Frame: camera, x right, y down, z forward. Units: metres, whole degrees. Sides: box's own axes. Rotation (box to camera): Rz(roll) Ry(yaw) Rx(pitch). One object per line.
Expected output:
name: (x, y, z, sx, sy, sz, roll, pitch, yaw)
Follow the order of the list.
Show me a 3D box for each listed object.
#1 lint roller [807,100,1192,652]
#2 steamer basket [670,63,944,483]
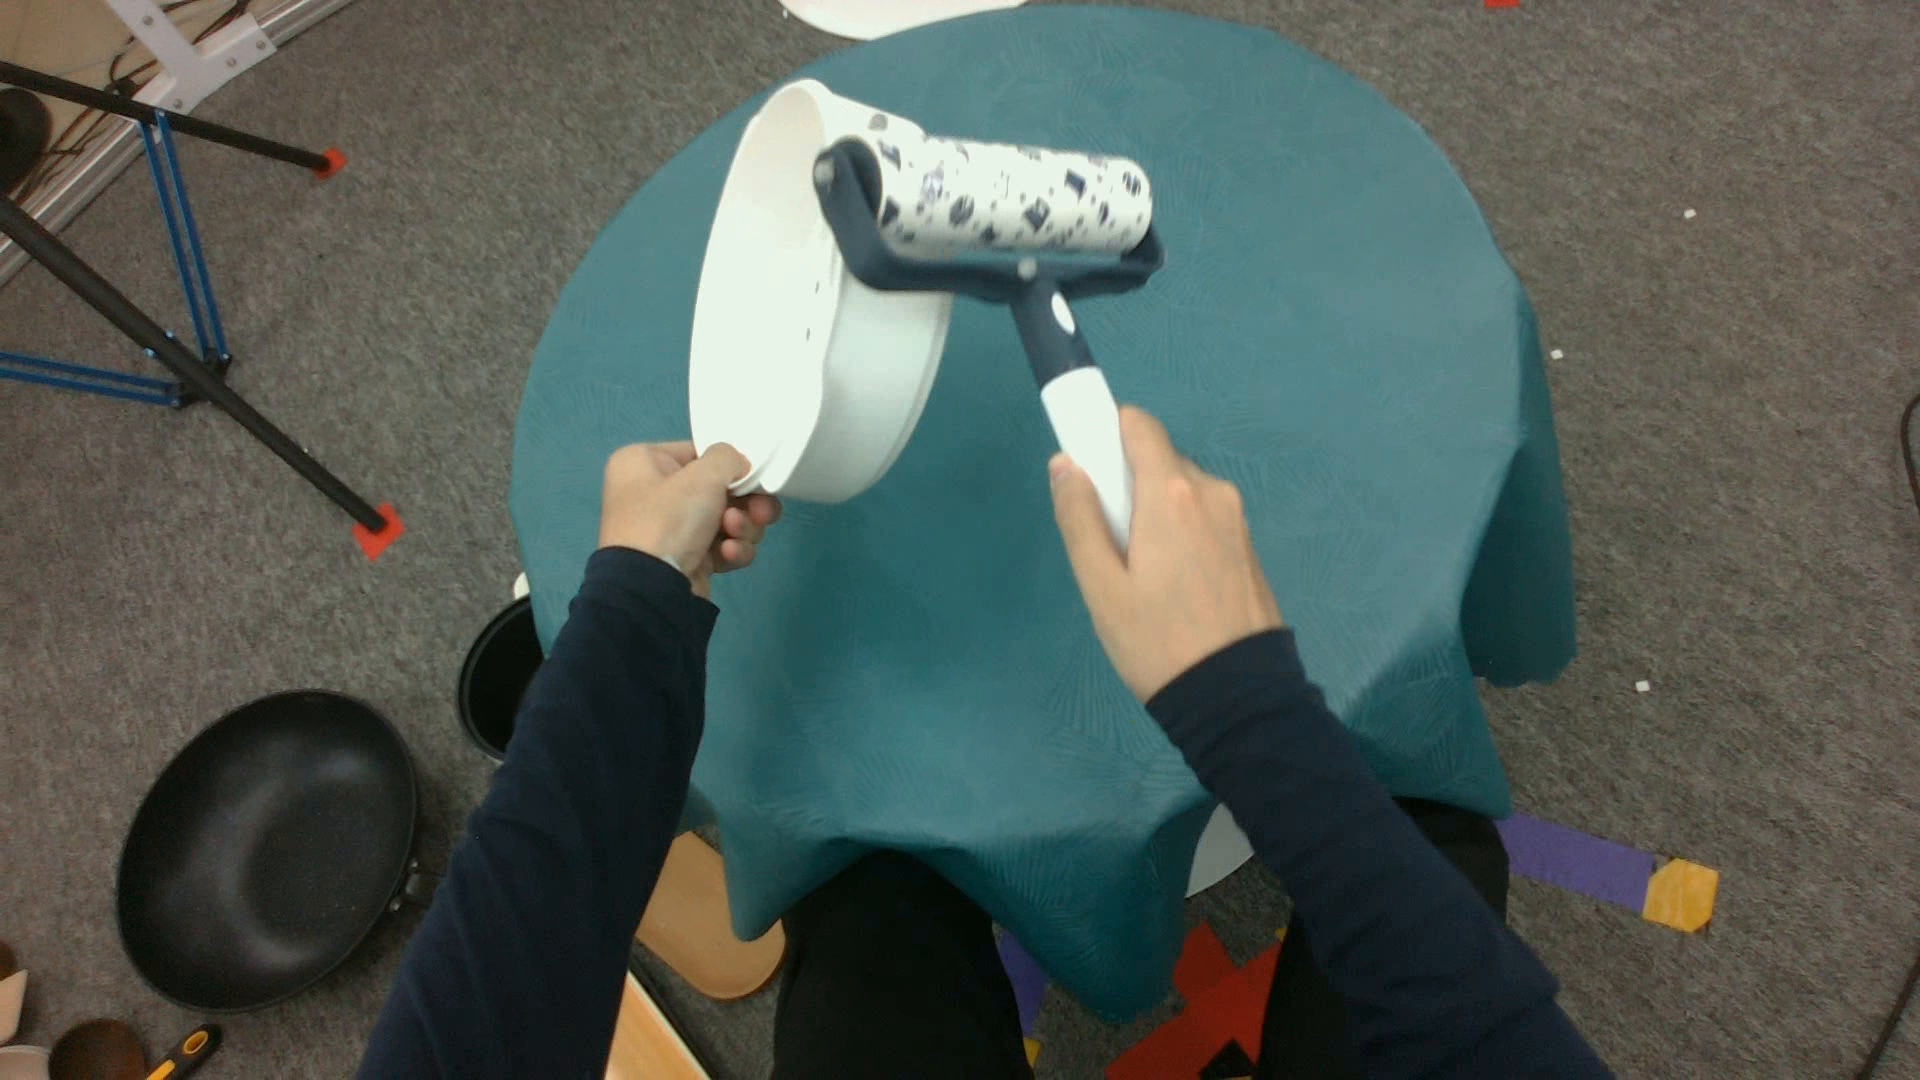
lint roller: (0.049, -0.073, 0.580, 0.177, 0.050, 0.247, -10, 72, -42)
steamer basket: (-0.077, -0.128, 0.684, 0.069, 0.201, 0.231, 12, 44, -30)
